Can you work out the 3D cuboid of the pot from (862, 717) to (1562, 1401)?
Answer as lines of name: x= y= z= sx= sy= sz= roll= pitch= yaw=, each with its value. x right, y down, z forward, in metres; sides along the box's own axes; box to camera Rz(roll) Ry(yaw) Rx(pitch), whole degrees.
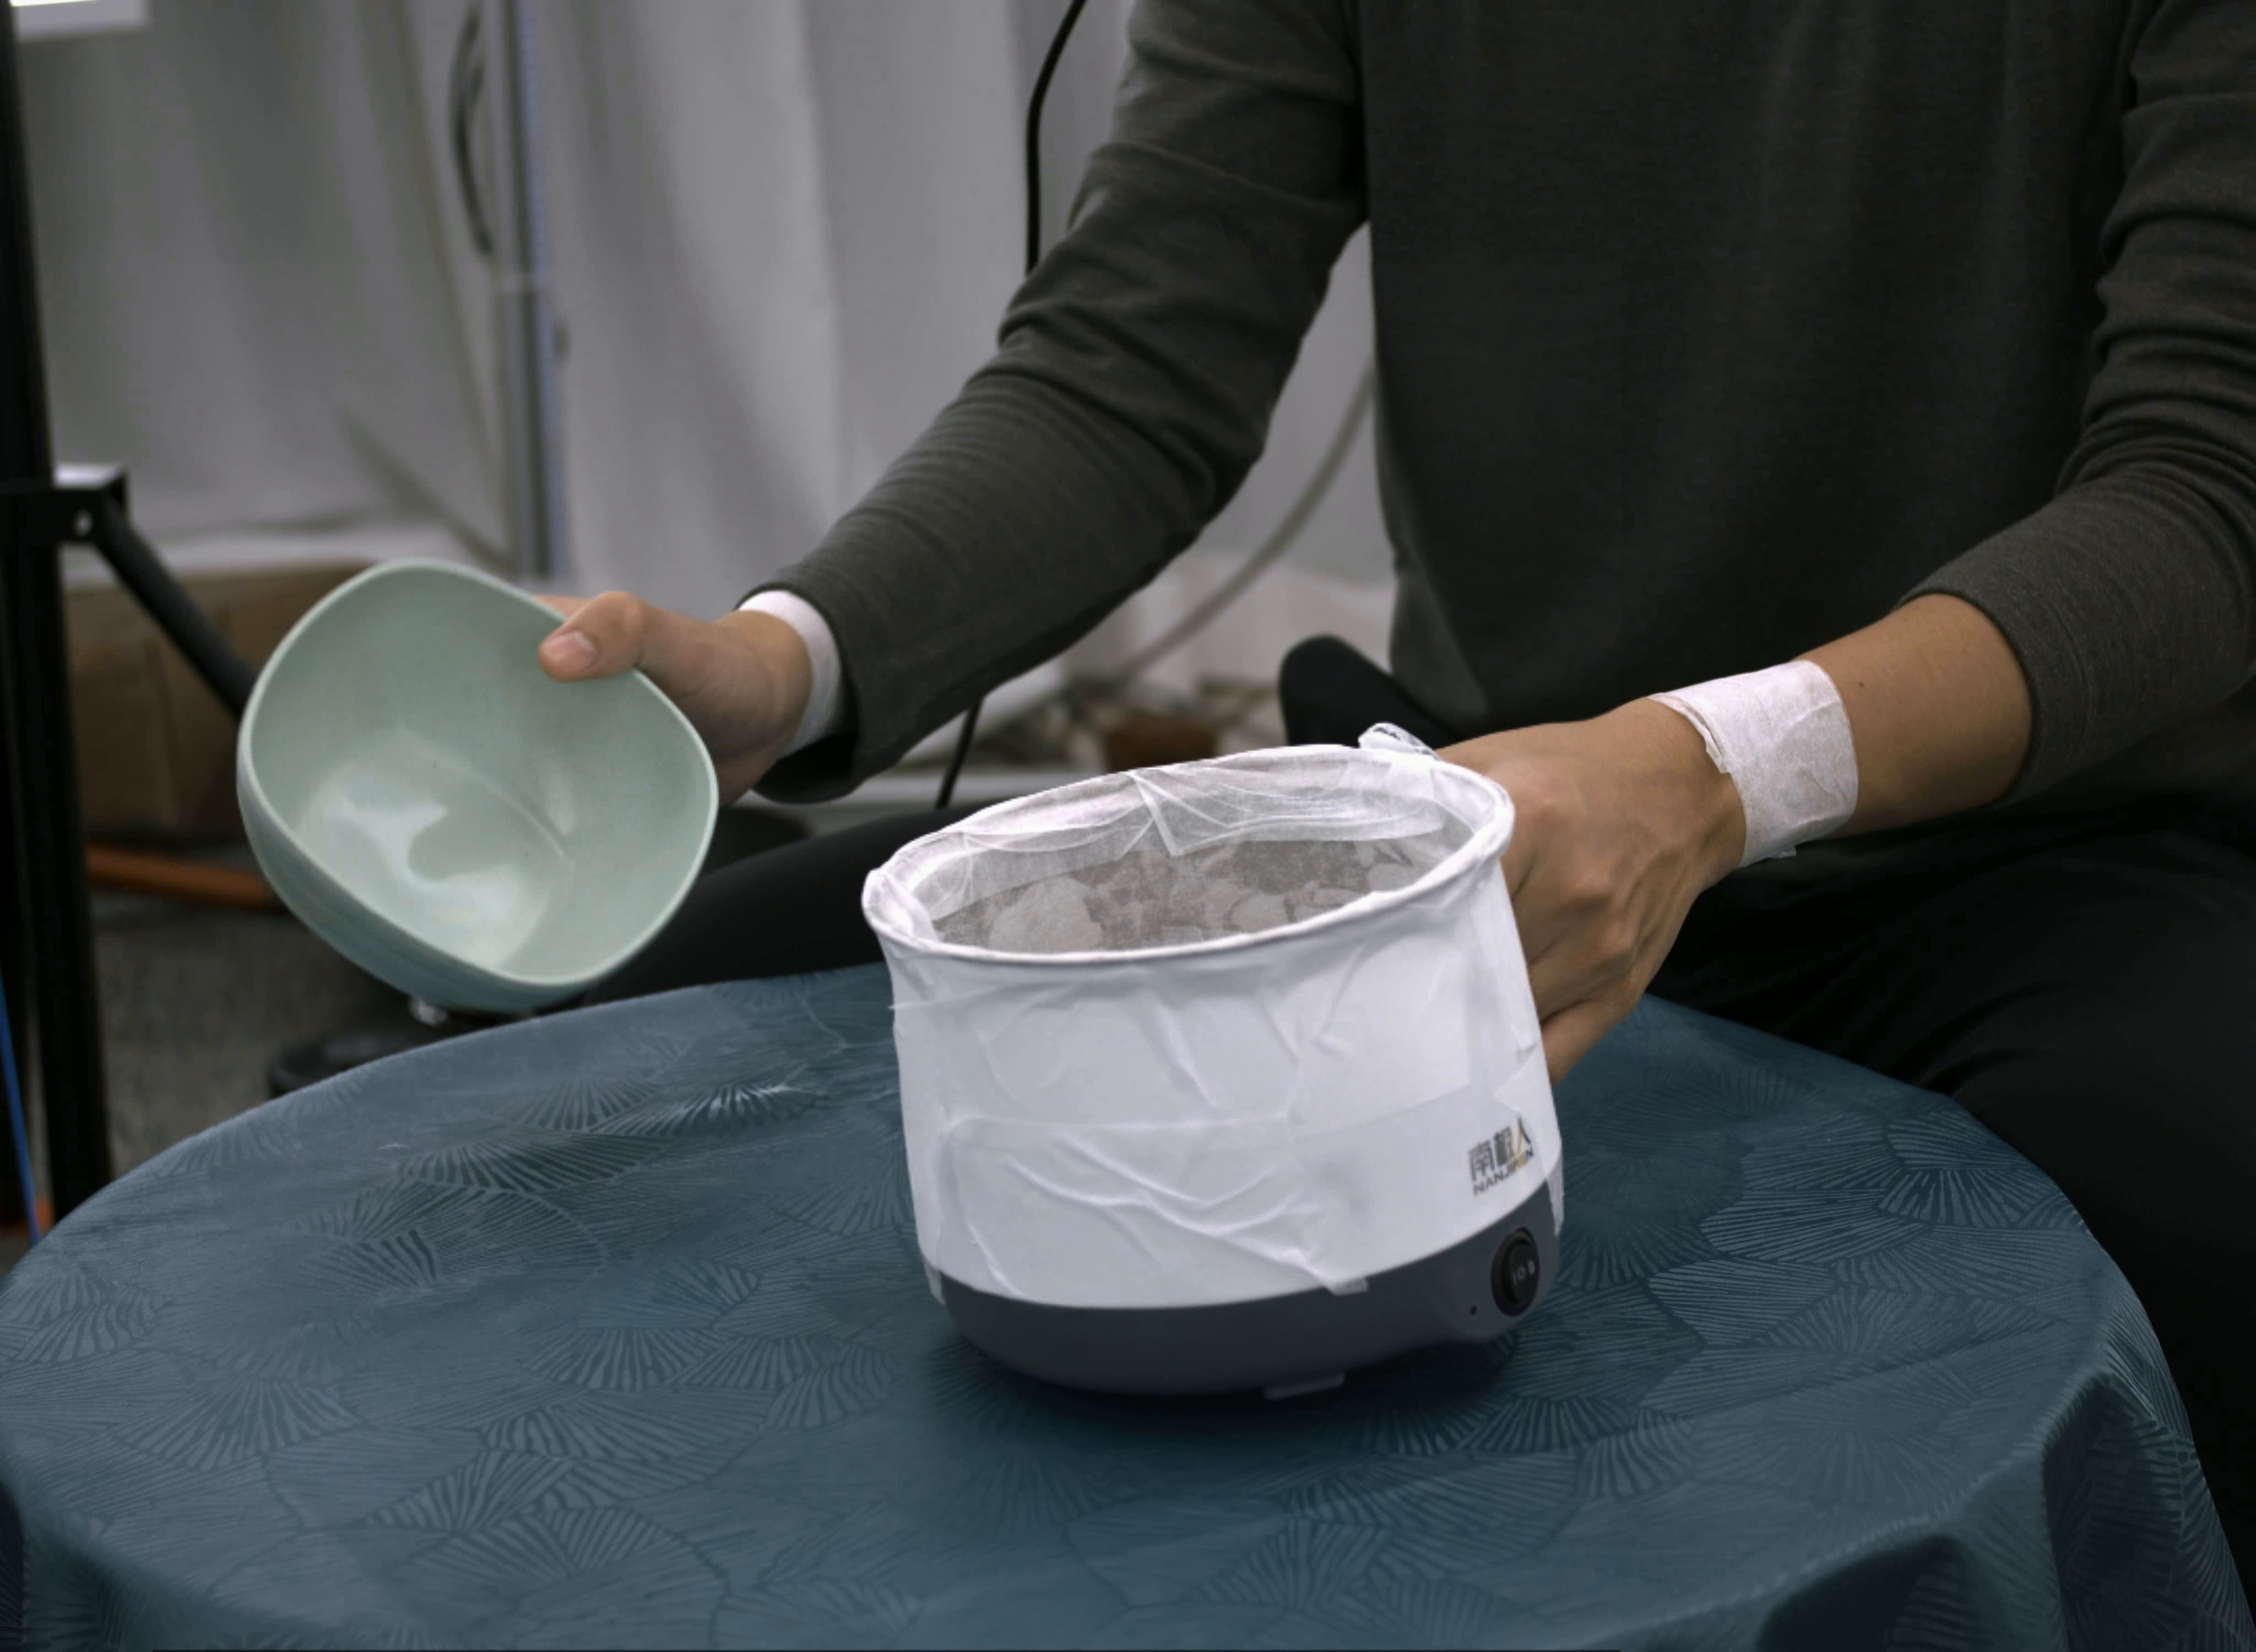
pot: x=0.041 y=0.057 z=1.449 sx=0.182 sy=0.136 sz=0.229 roll=3 pitch=20 yaw=36

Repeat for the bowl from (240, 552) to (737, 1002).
bowl: x=-0.193 y=-0.004 z=1.577 sx=0.149 sy=0.059 sz=0.153 roll=9 pitch=53 yaw=-14
